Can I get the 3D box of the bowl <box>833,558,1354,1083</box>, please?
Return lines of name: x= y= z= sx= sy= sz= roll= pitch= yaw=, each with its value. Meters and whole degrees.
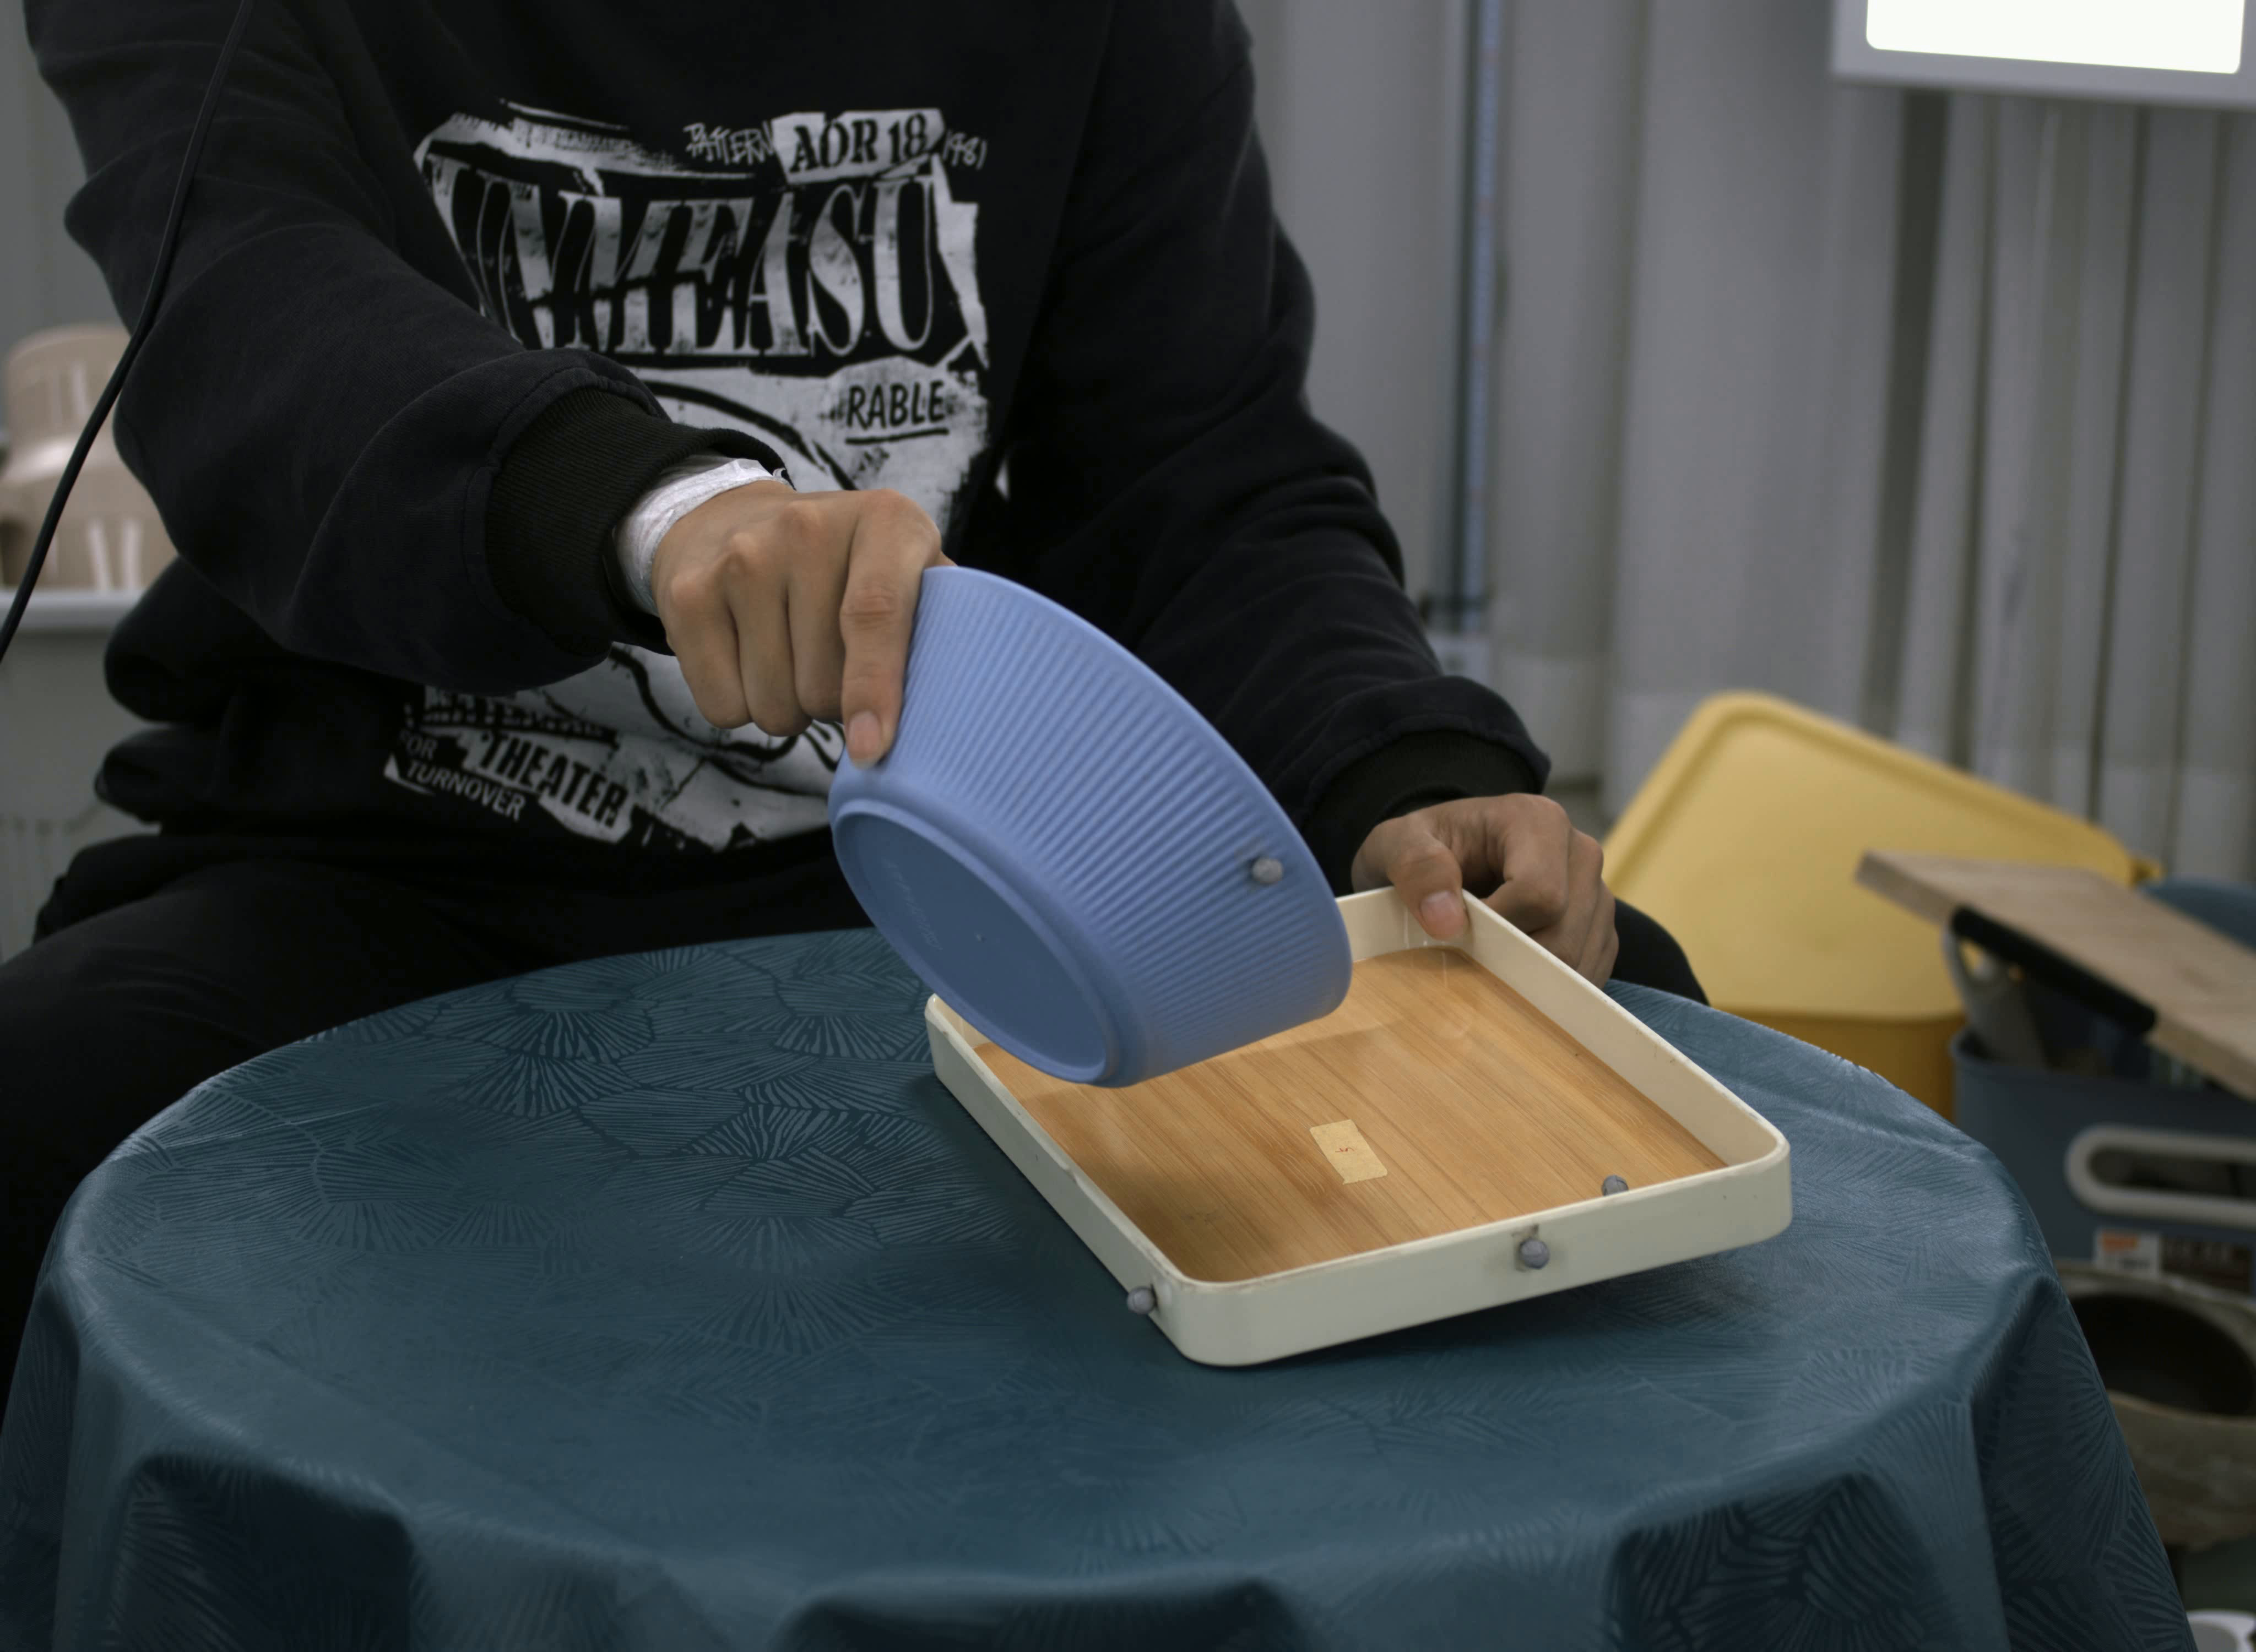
bowl: x=-0.022 y=0.010 z=1.518 sx=0.070 sy=0.178 sz=0.173 roll=-45 pitch=38 yaw=-21

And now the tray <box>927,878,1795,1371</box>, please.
tray: x=0.065 y=0.087 z=1.630 sx=0.192 sy=0.027 sz=0.297 roll=-12 pitch=19 yaw=-15
